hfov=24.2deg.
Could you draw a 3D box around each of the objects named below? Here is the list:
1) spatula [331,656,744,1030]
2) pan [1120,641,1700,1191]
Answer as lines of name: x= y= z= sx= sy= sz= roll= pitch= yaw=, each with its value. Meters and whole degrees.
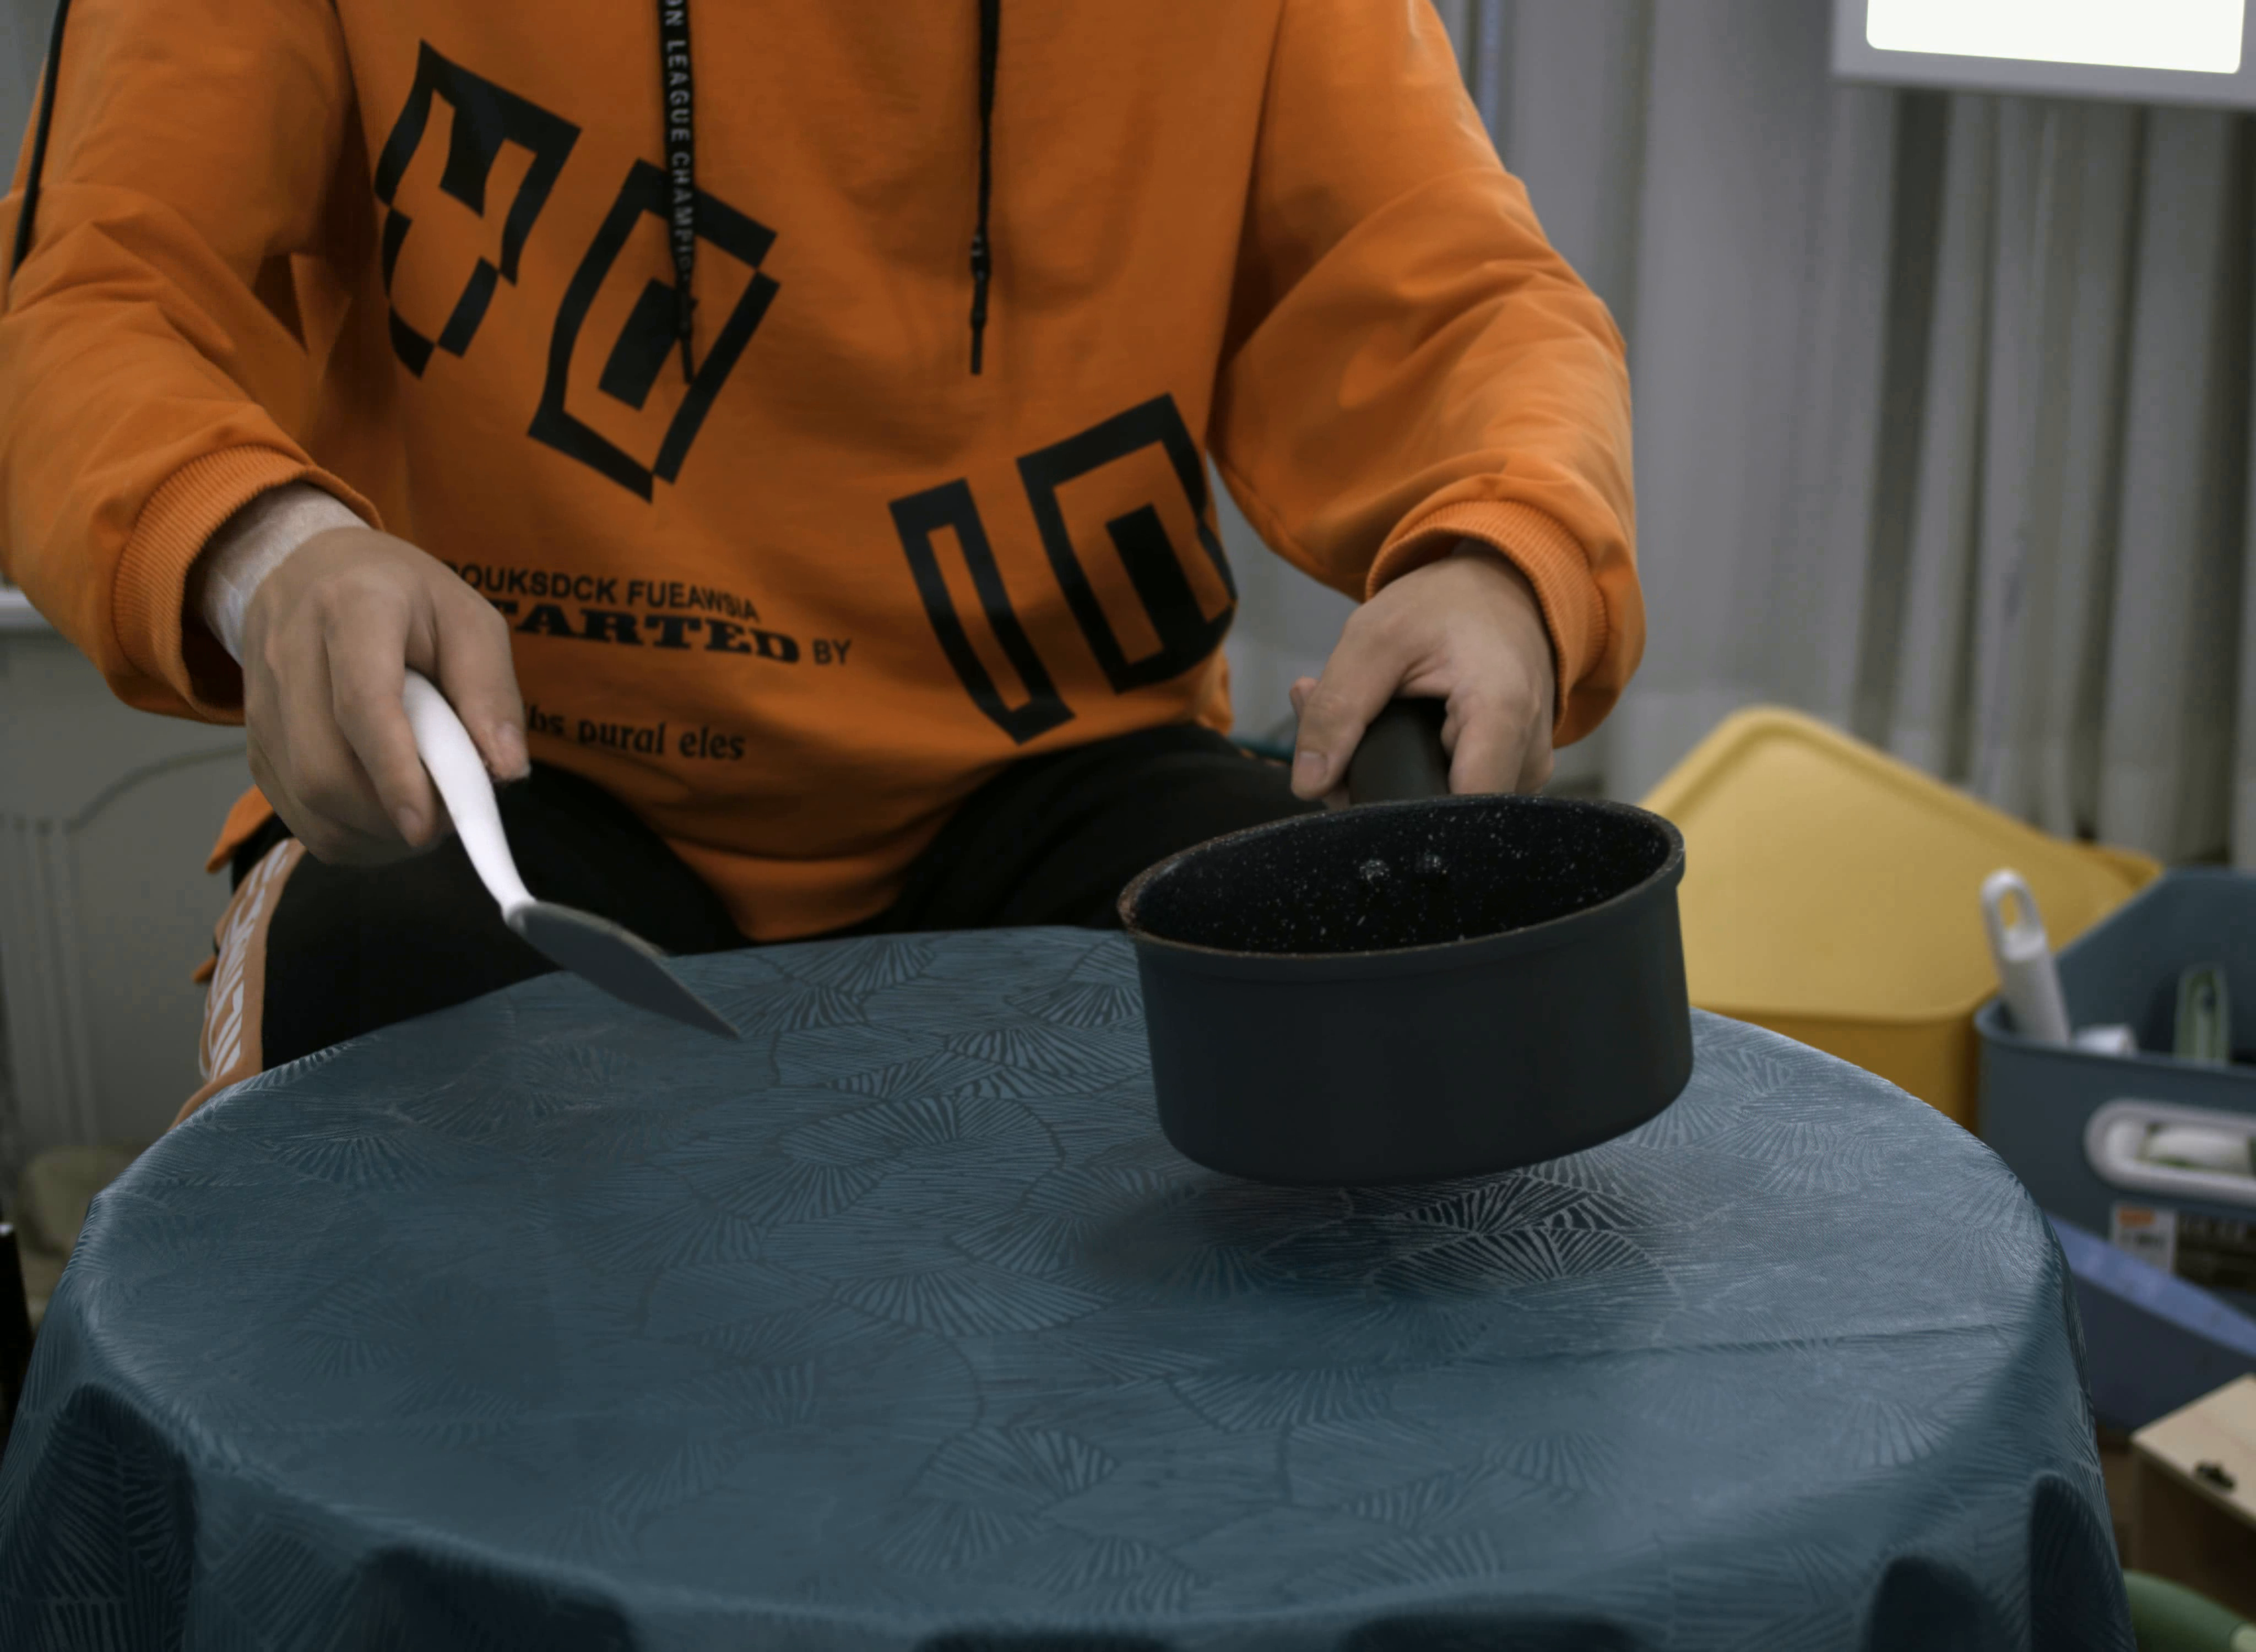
spatula: x=-0.182 y=0.005 z=1.550 sx=0.032 sy=0.059 sz=0.284 roll=-45 pitch=30 yaw=-4
pan: x=0.092 y=0.024 z=1.659 sx=0.171 sy=0.087 sz=0.327 roll=-5 pitch=16 yaw=6
